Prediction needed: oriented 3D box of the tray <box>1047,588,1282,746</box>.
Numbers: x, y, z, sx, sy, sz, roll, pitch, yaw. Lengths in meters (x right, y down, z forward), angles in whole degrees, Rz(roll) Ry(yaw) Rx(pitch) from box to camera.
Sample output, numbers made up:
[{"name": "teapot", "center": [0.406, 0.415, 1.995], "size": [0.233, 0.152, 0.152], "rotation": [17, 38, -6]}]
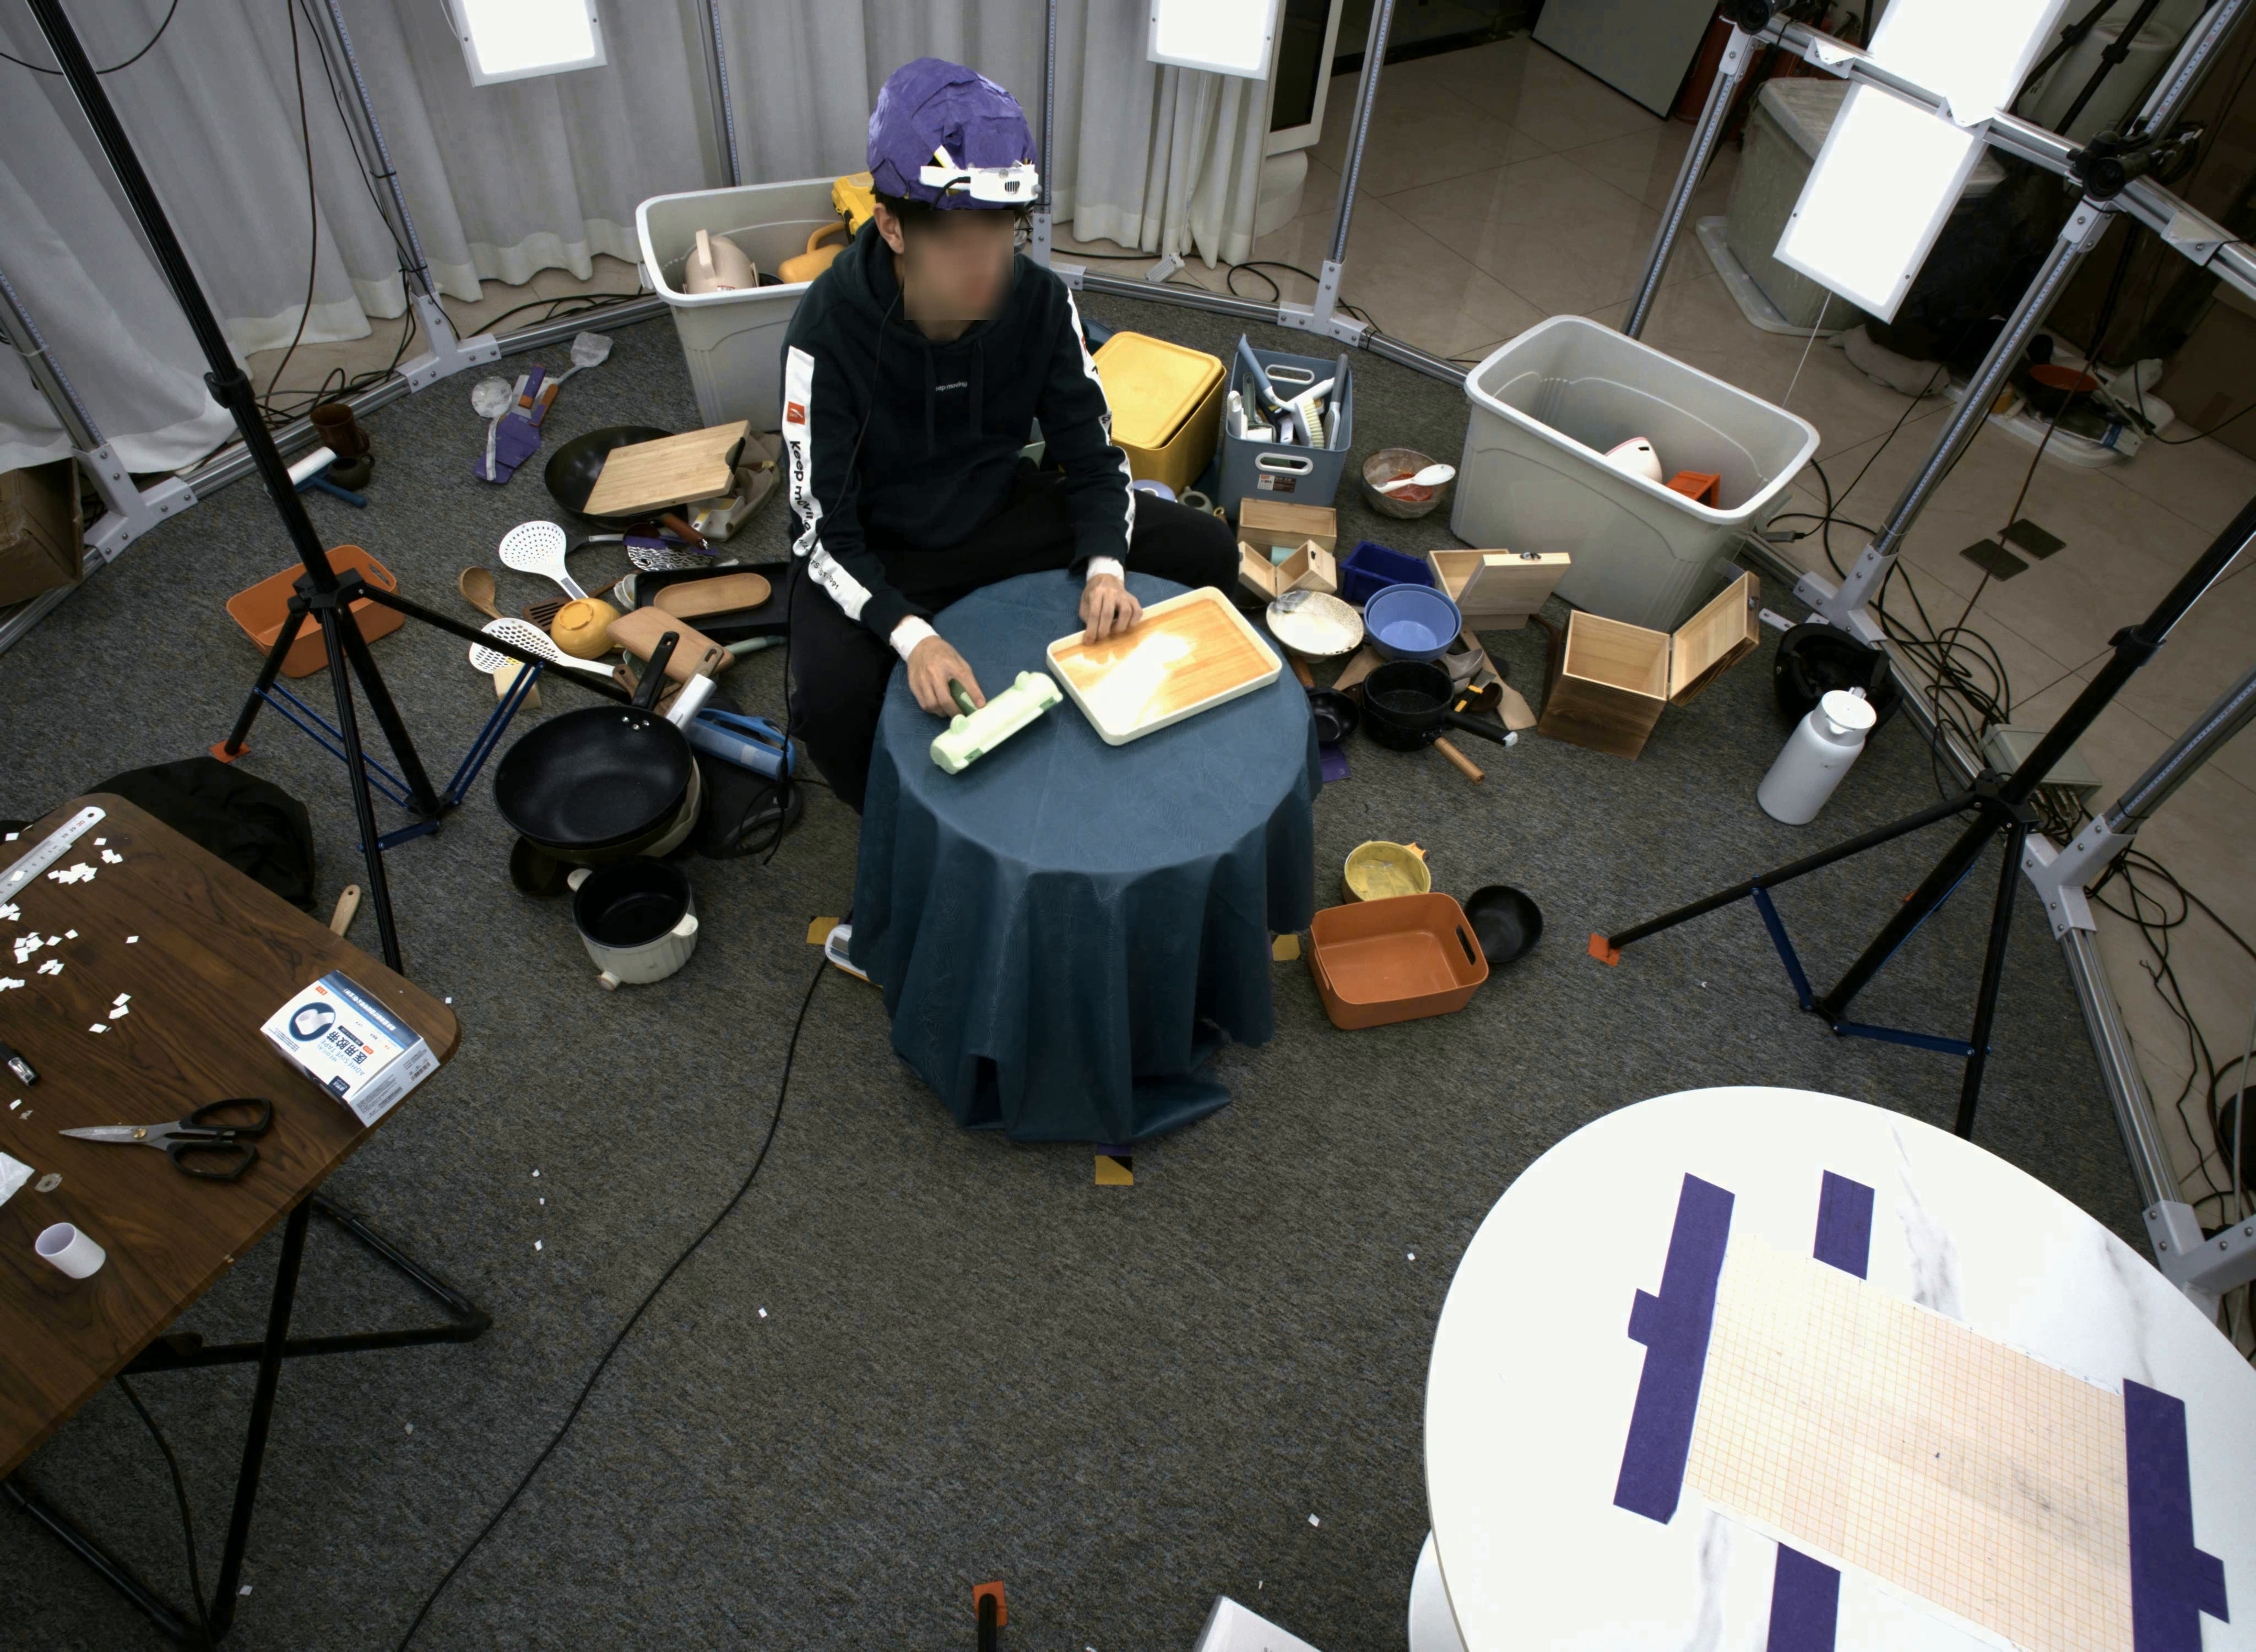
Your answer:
[{"name": "tray", "center": [0.053, -0.234, 1.846], "size": [0.301, 0.027, 0.195], "rotation": [-24, 58, -23]}]

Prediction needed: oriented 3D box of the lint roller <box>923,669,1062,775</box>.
[{"name": "lint roller", "center": [-0.219, -0.177, 1.756], "size": [0.200, 0.080, 0.186], "rotation": [-36, 64, -28]}]
